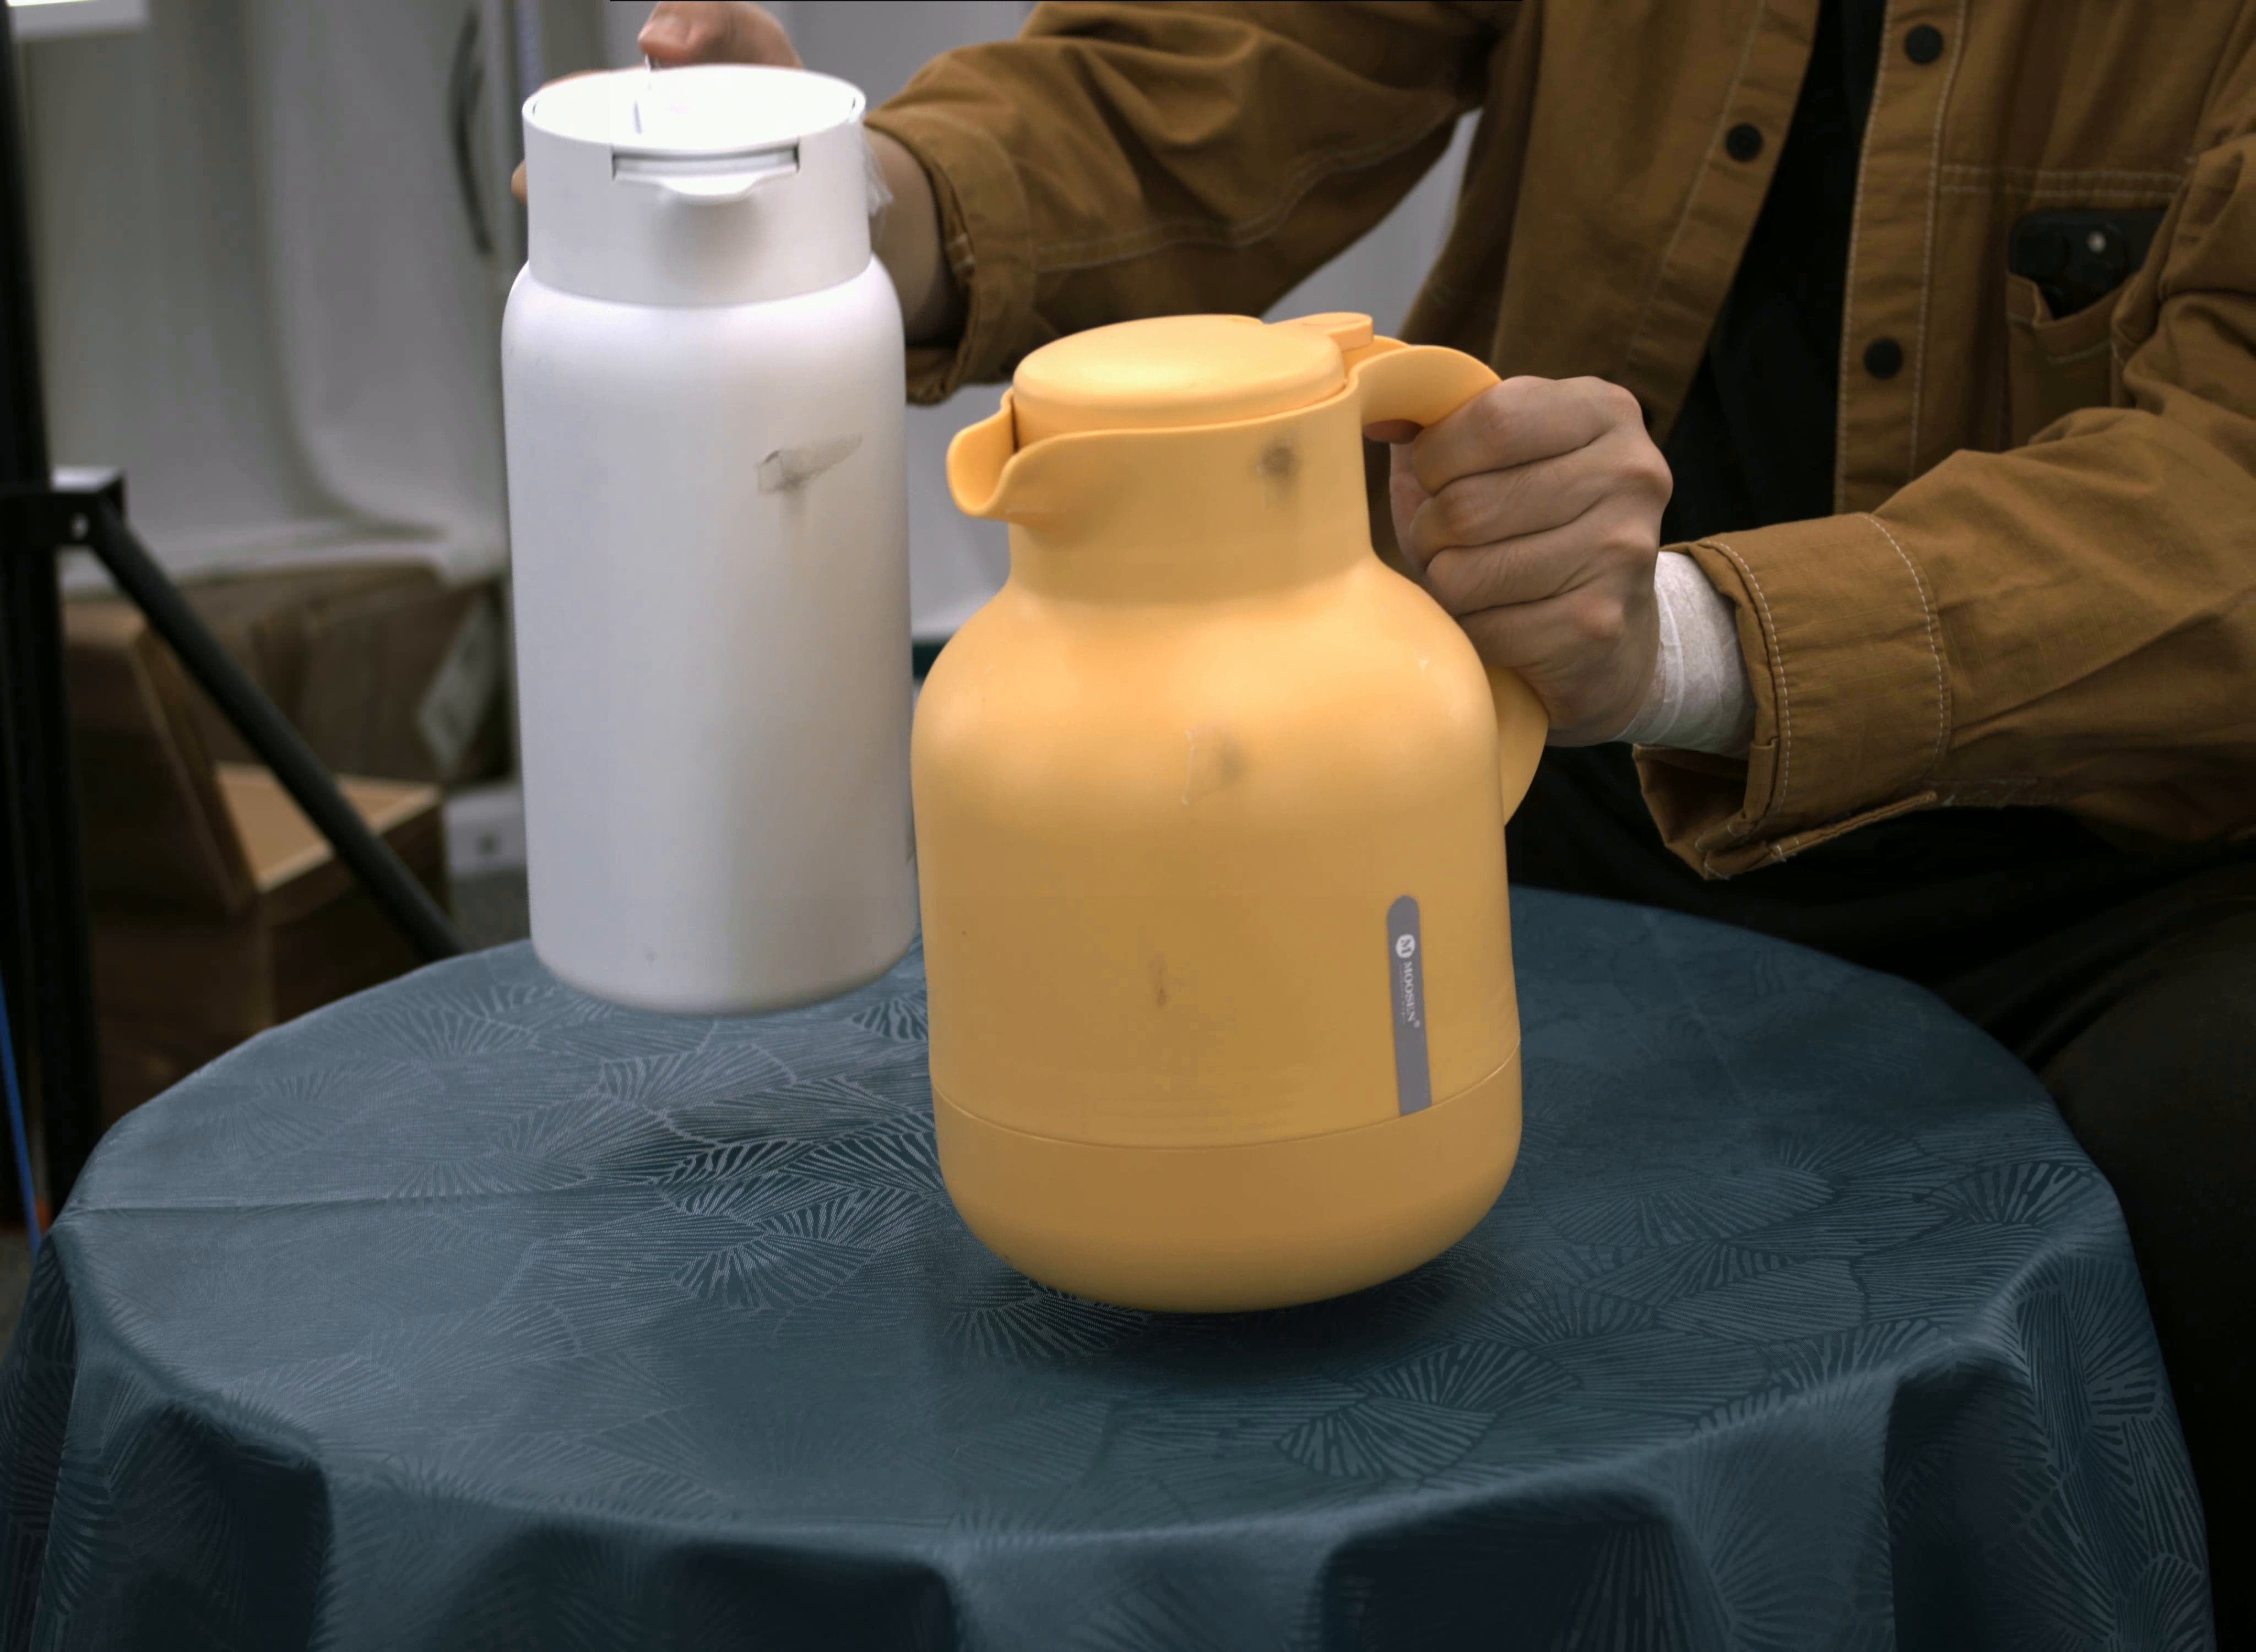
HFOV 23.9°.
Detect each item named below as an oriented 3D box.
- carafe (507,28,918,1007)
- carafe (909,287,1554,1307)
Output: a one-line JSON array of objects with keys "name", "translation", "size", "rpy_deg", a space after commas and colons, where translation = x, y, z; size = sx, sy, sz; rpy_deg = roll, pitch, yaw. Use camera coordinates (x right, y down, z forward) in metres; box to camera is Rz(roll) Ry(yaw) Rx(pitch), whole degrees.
[{"name": "carafe", "translation": [-0.126, -0.095, 1.586], "size": [0.122, 0.268, 0.175], "rpy_deg": [-5, 21, -7]}, {"name": "carafe", "translation": [0.038, -0.015, 1.448], "size": [0.198, 0.260, 0.167], "rpy_deg": [-17, 24, -33]}]
